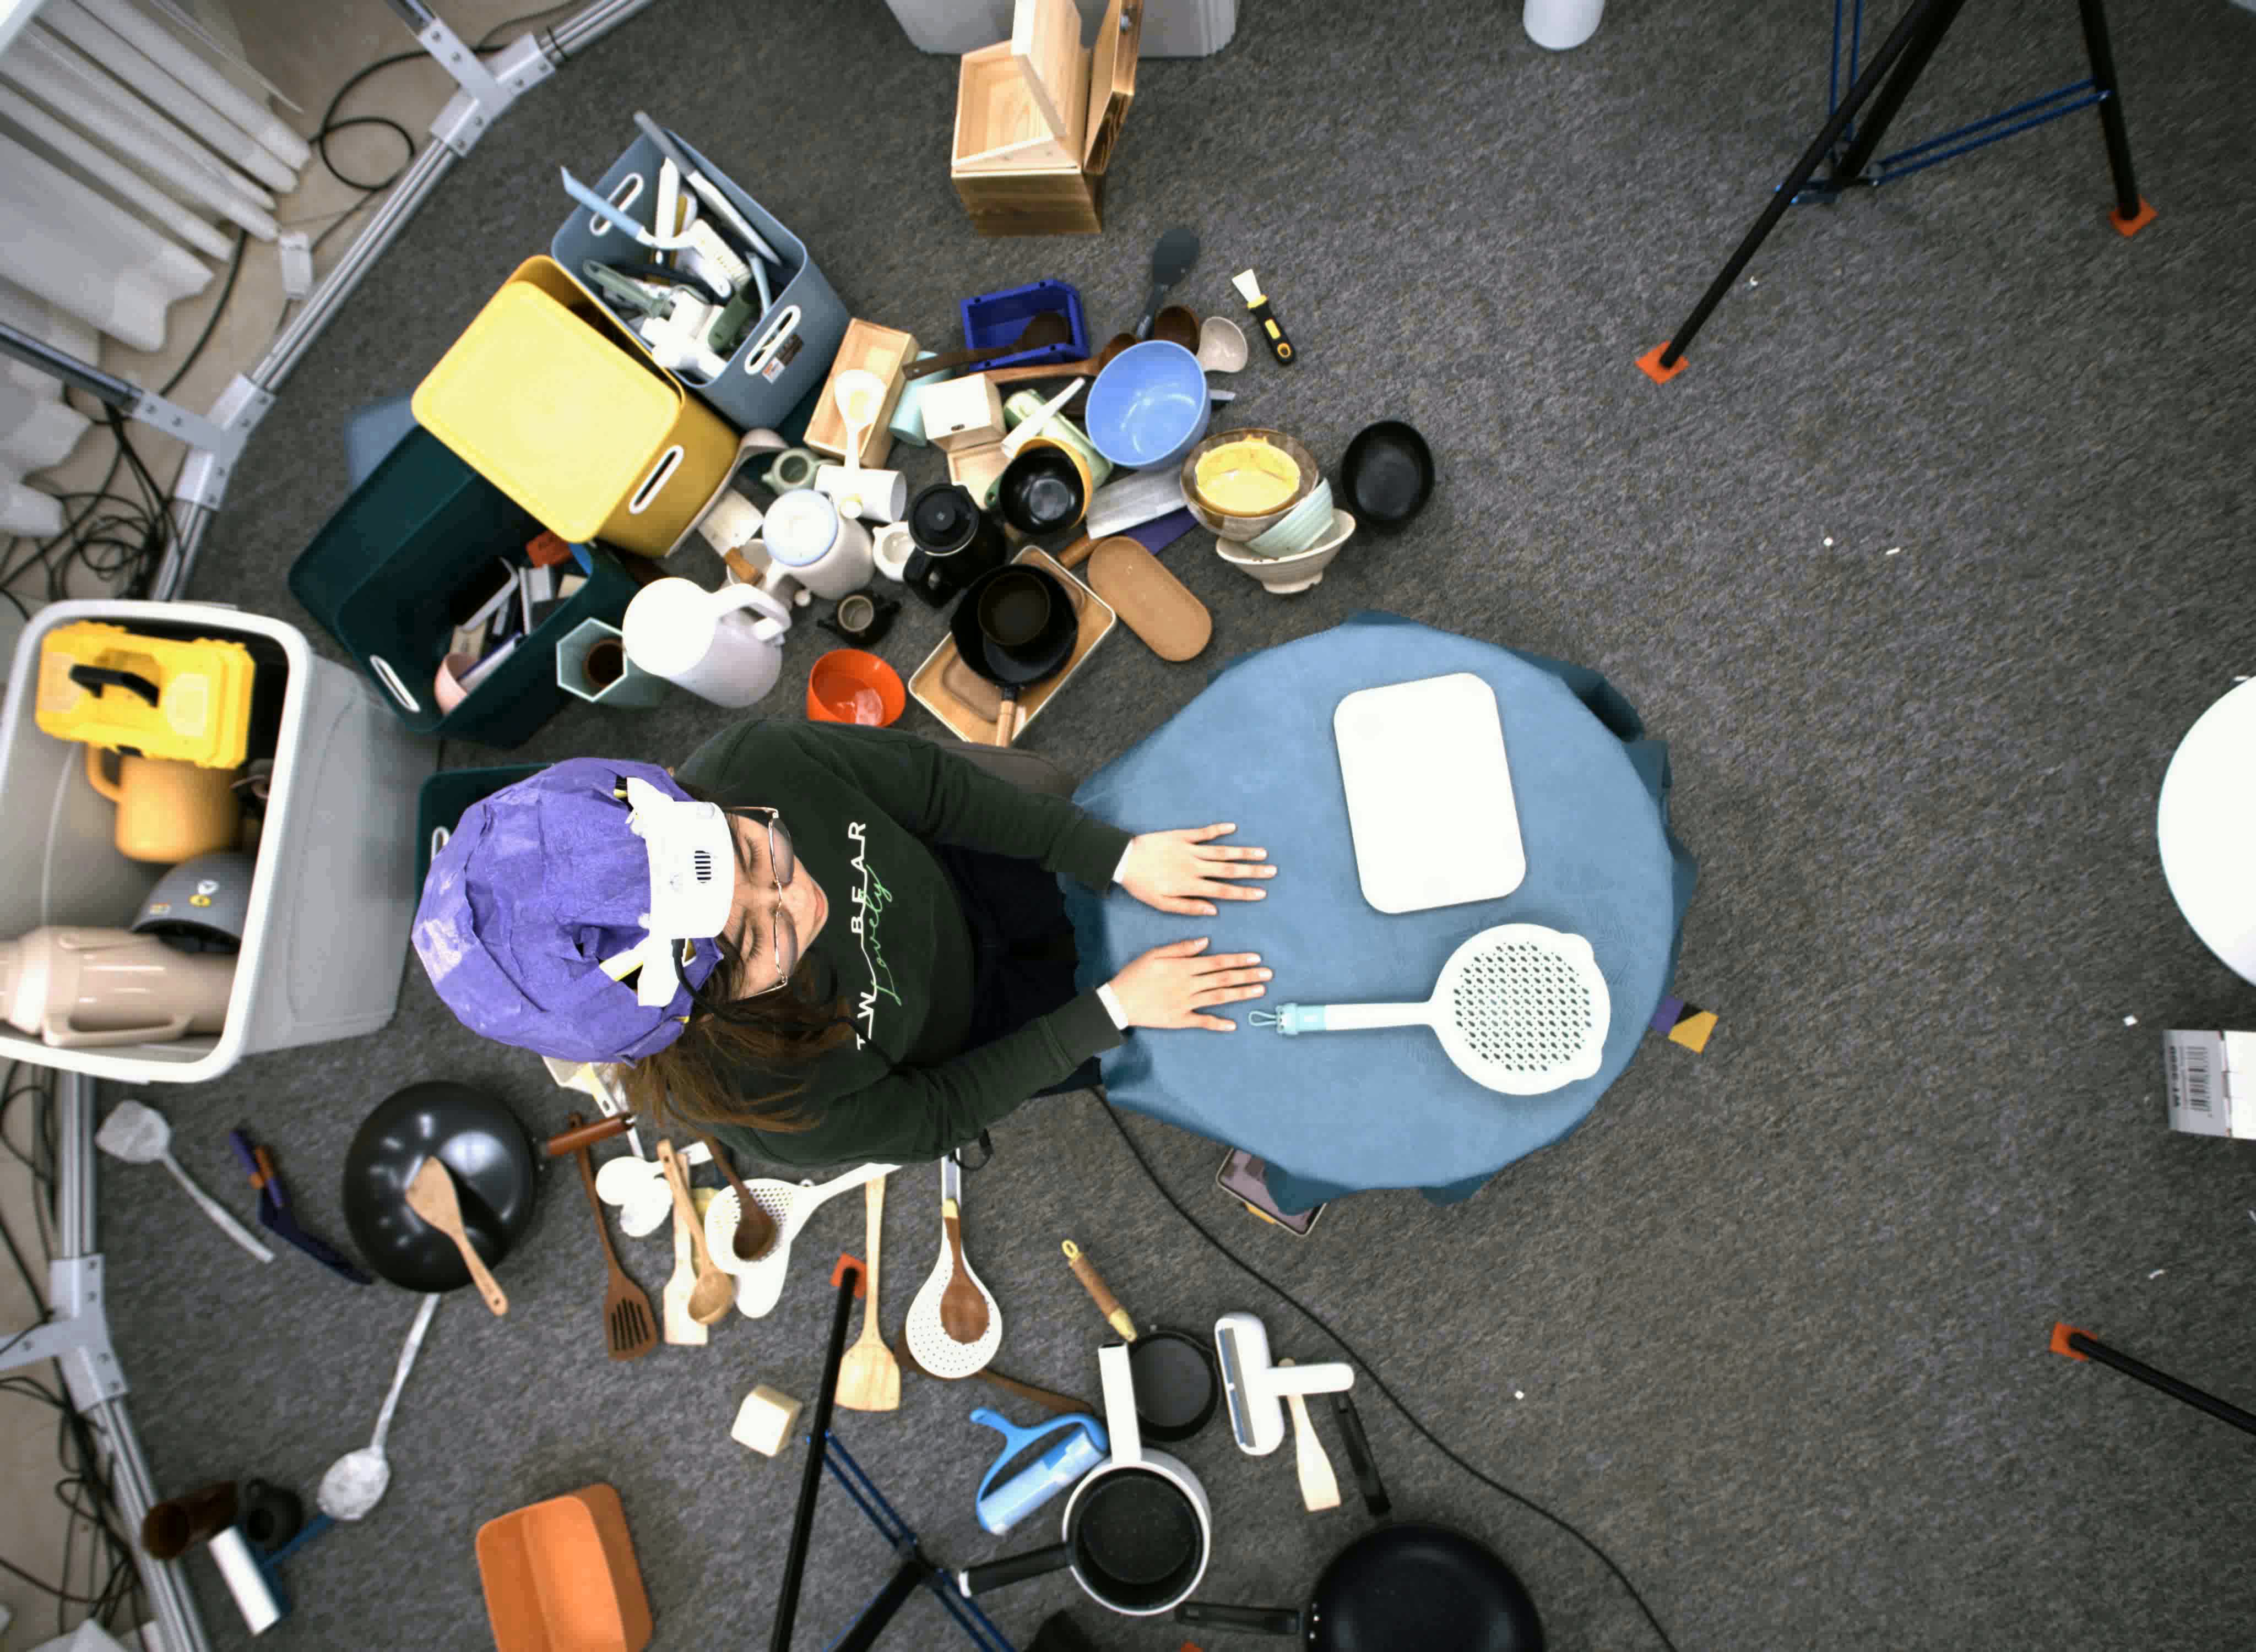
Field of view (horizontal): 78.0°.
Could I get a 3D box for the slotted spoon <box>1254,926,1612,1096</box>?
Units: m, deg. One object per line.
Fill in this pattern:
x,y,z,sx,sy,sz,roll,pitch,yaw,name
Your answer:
0.306,0.192,1.418,0.360,0.075,0.168,-4,84,11,slotted spoon

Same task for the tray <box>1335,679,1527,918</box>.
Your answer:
0.319,-0.031,1.455,0.172,0.017,0.238,-10,84,9,tray
